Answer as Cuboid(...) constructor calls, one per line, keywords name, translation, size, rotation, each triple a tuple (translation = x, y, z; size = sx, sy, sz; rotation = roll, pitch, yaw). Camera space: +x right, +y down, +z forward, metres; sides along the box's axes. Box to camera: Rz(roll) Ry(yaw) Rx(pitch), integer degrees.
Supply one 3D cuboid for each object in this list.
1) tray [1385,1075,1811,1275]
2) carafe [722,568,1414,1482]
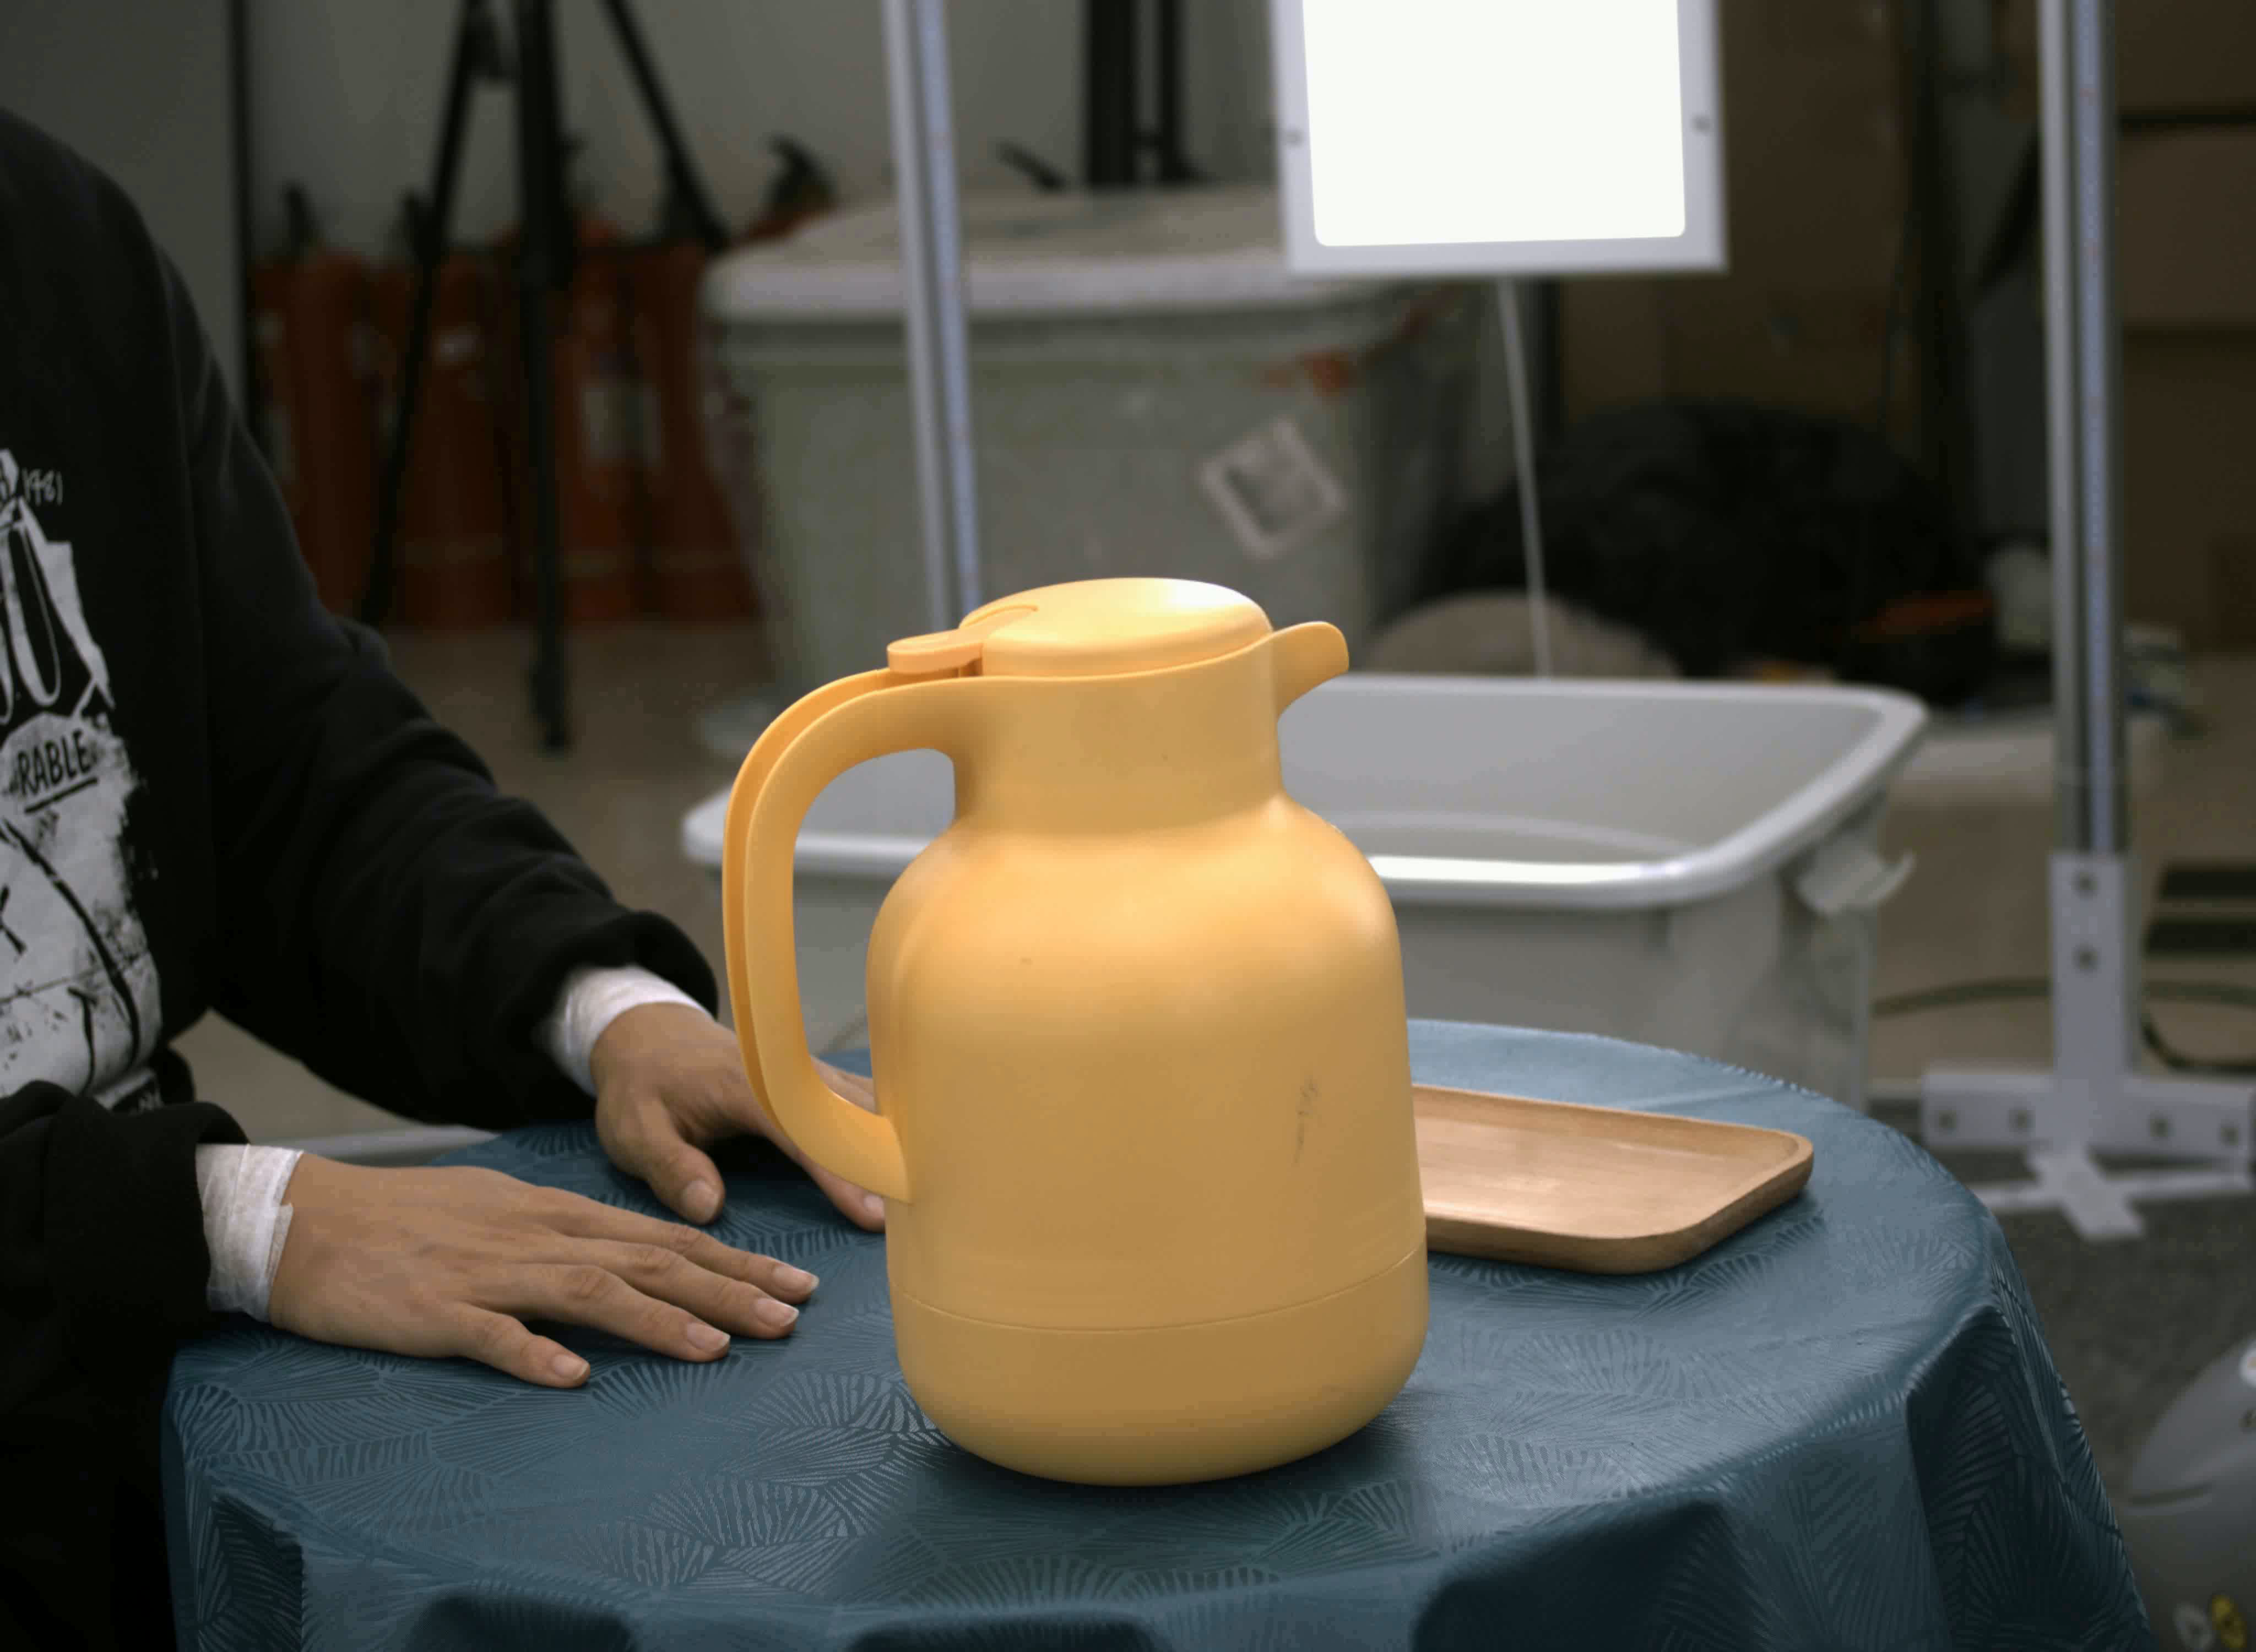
Cuboid(name="tray", translation=(0.103, 0.115, 1.872), size=(0.256, 0.023, 0.127), rotation=(5, 15, 38))
Cuboid(name="carafe", translation=(-0.018, 0.057, 1.635), size=(0.199, 0.261, 0.165), rotation=(-6, 11, -14))
